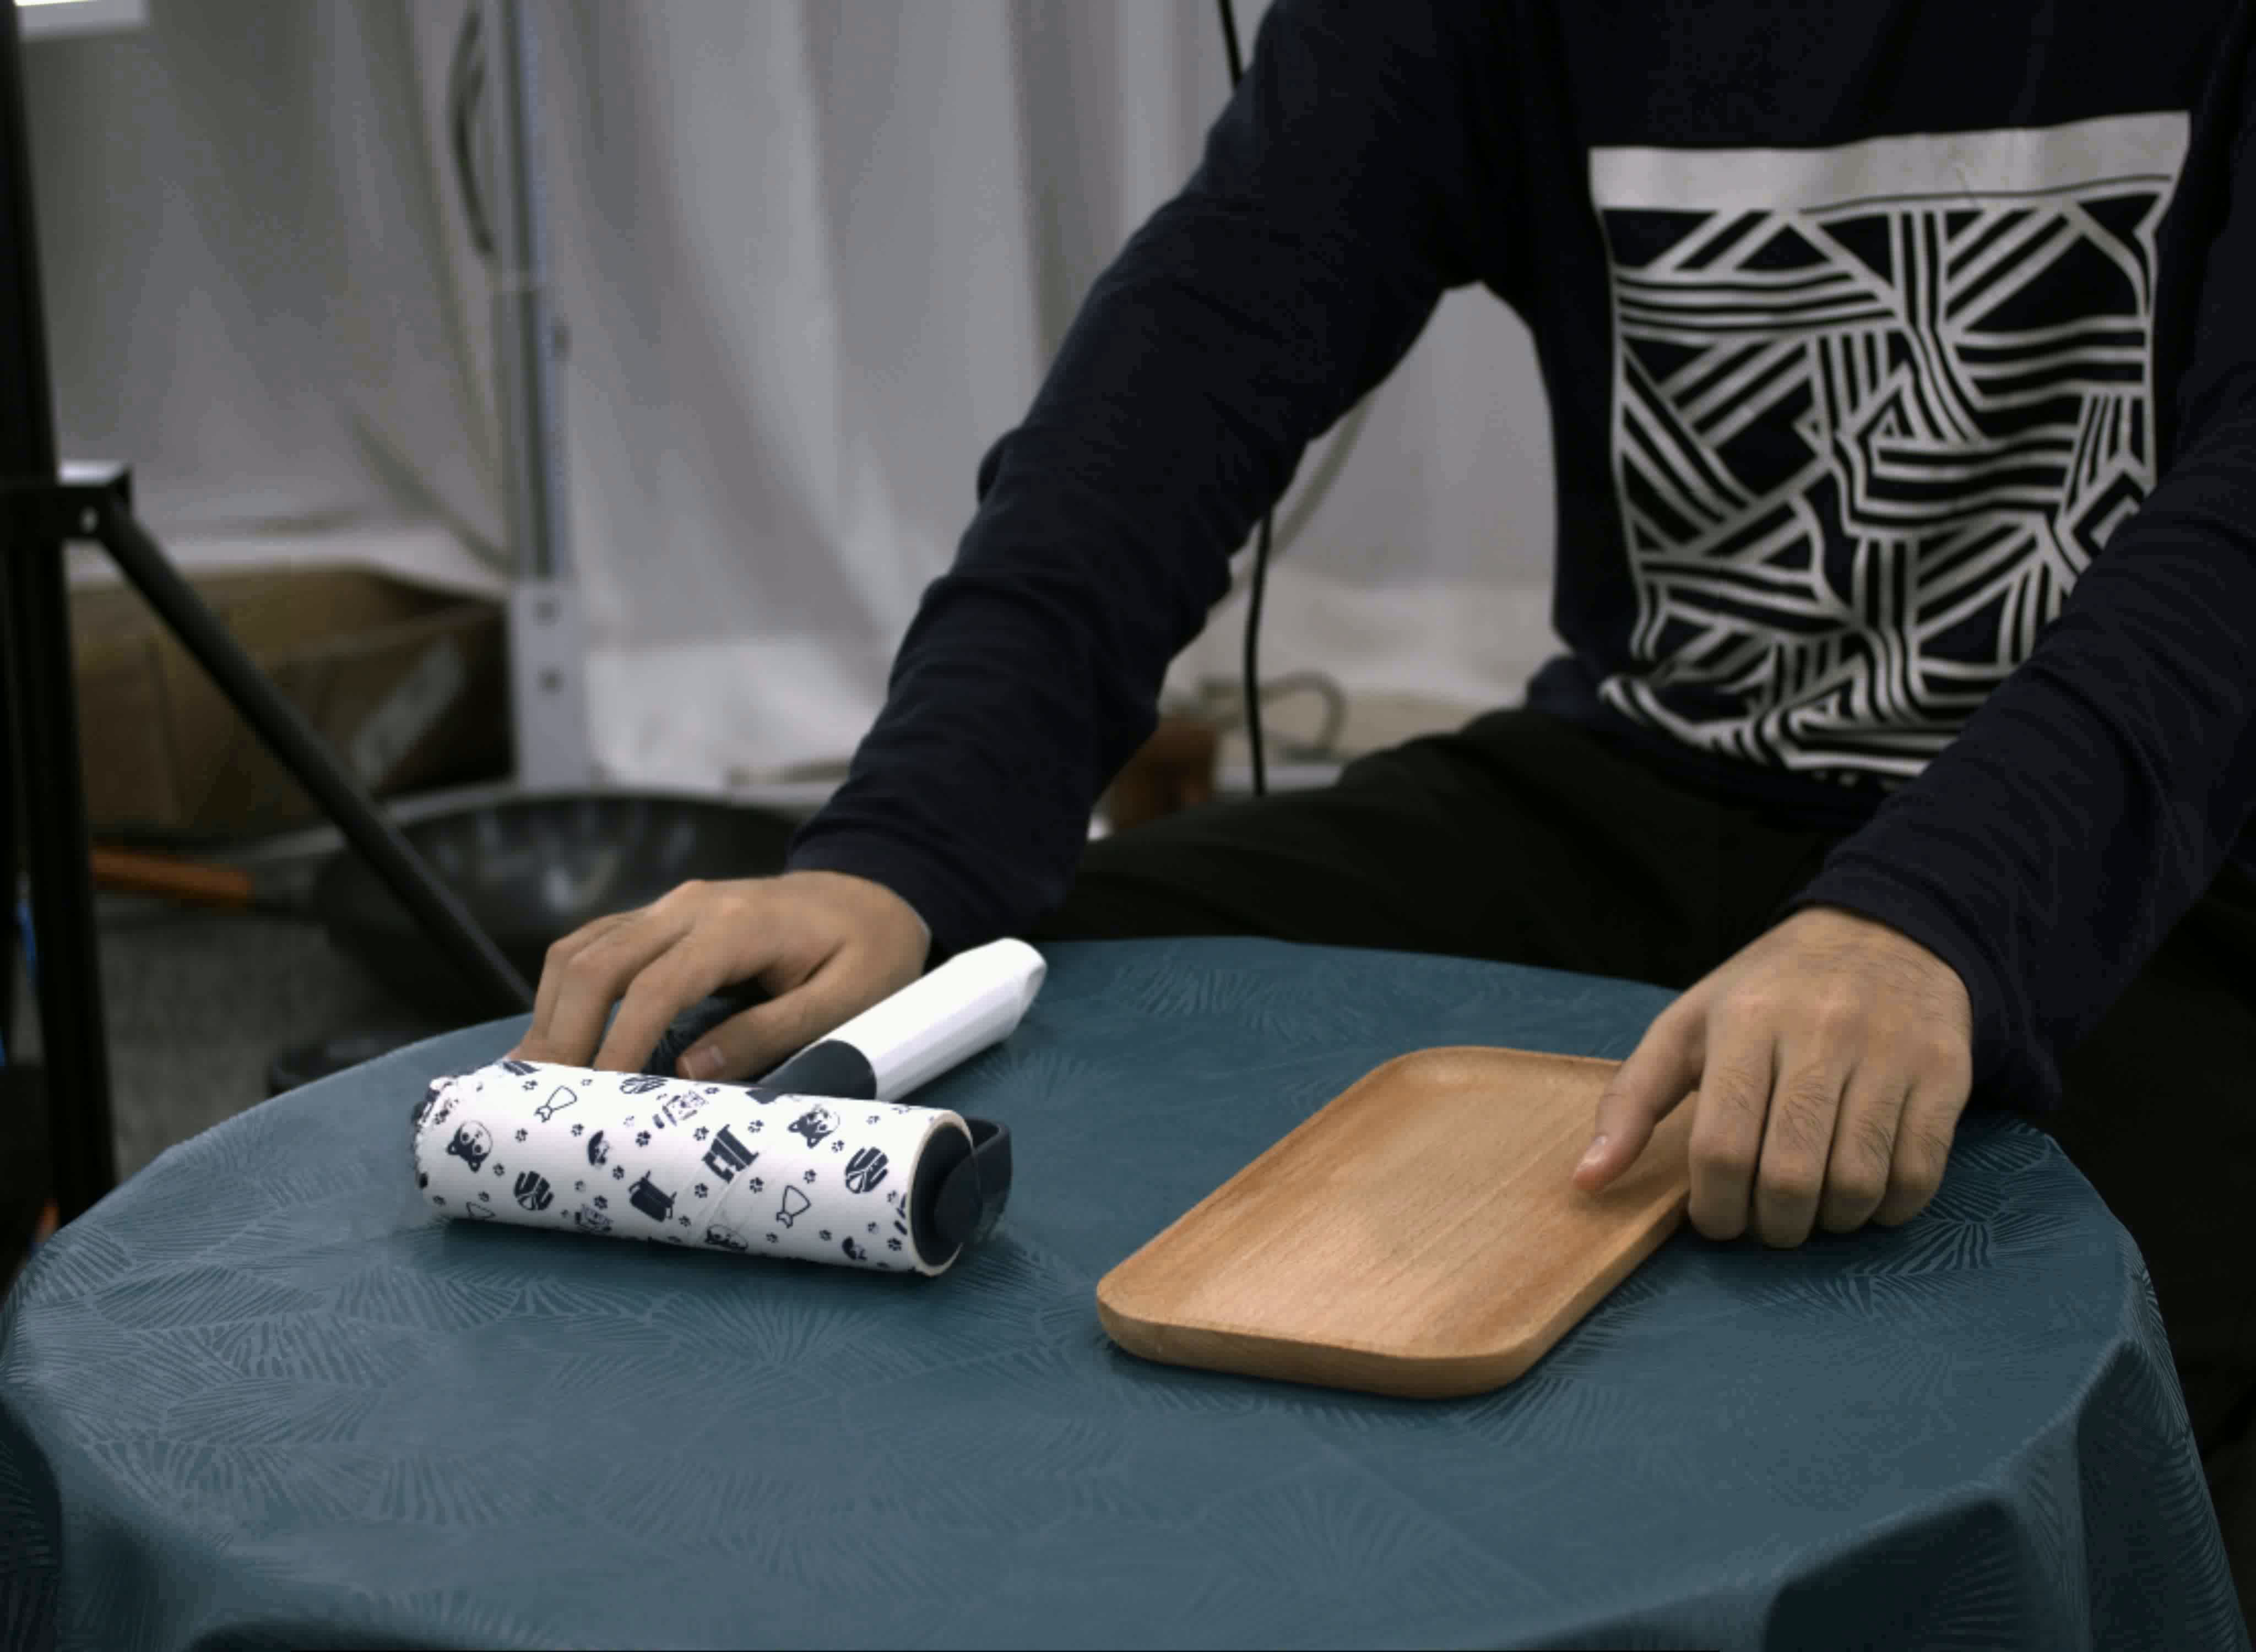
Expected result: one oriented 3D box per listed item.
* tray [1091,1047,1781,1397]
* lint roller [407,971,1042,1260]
[{"bbox_3d":[0.092,0.110,1.512,0.132,0.023,0.246,9,18,26],"label":"tray"},{"bbox_3d":[-0.086,0.074,1.622,0.179,0.050,0.243,4,14,24],"label":"lint roller"}]
